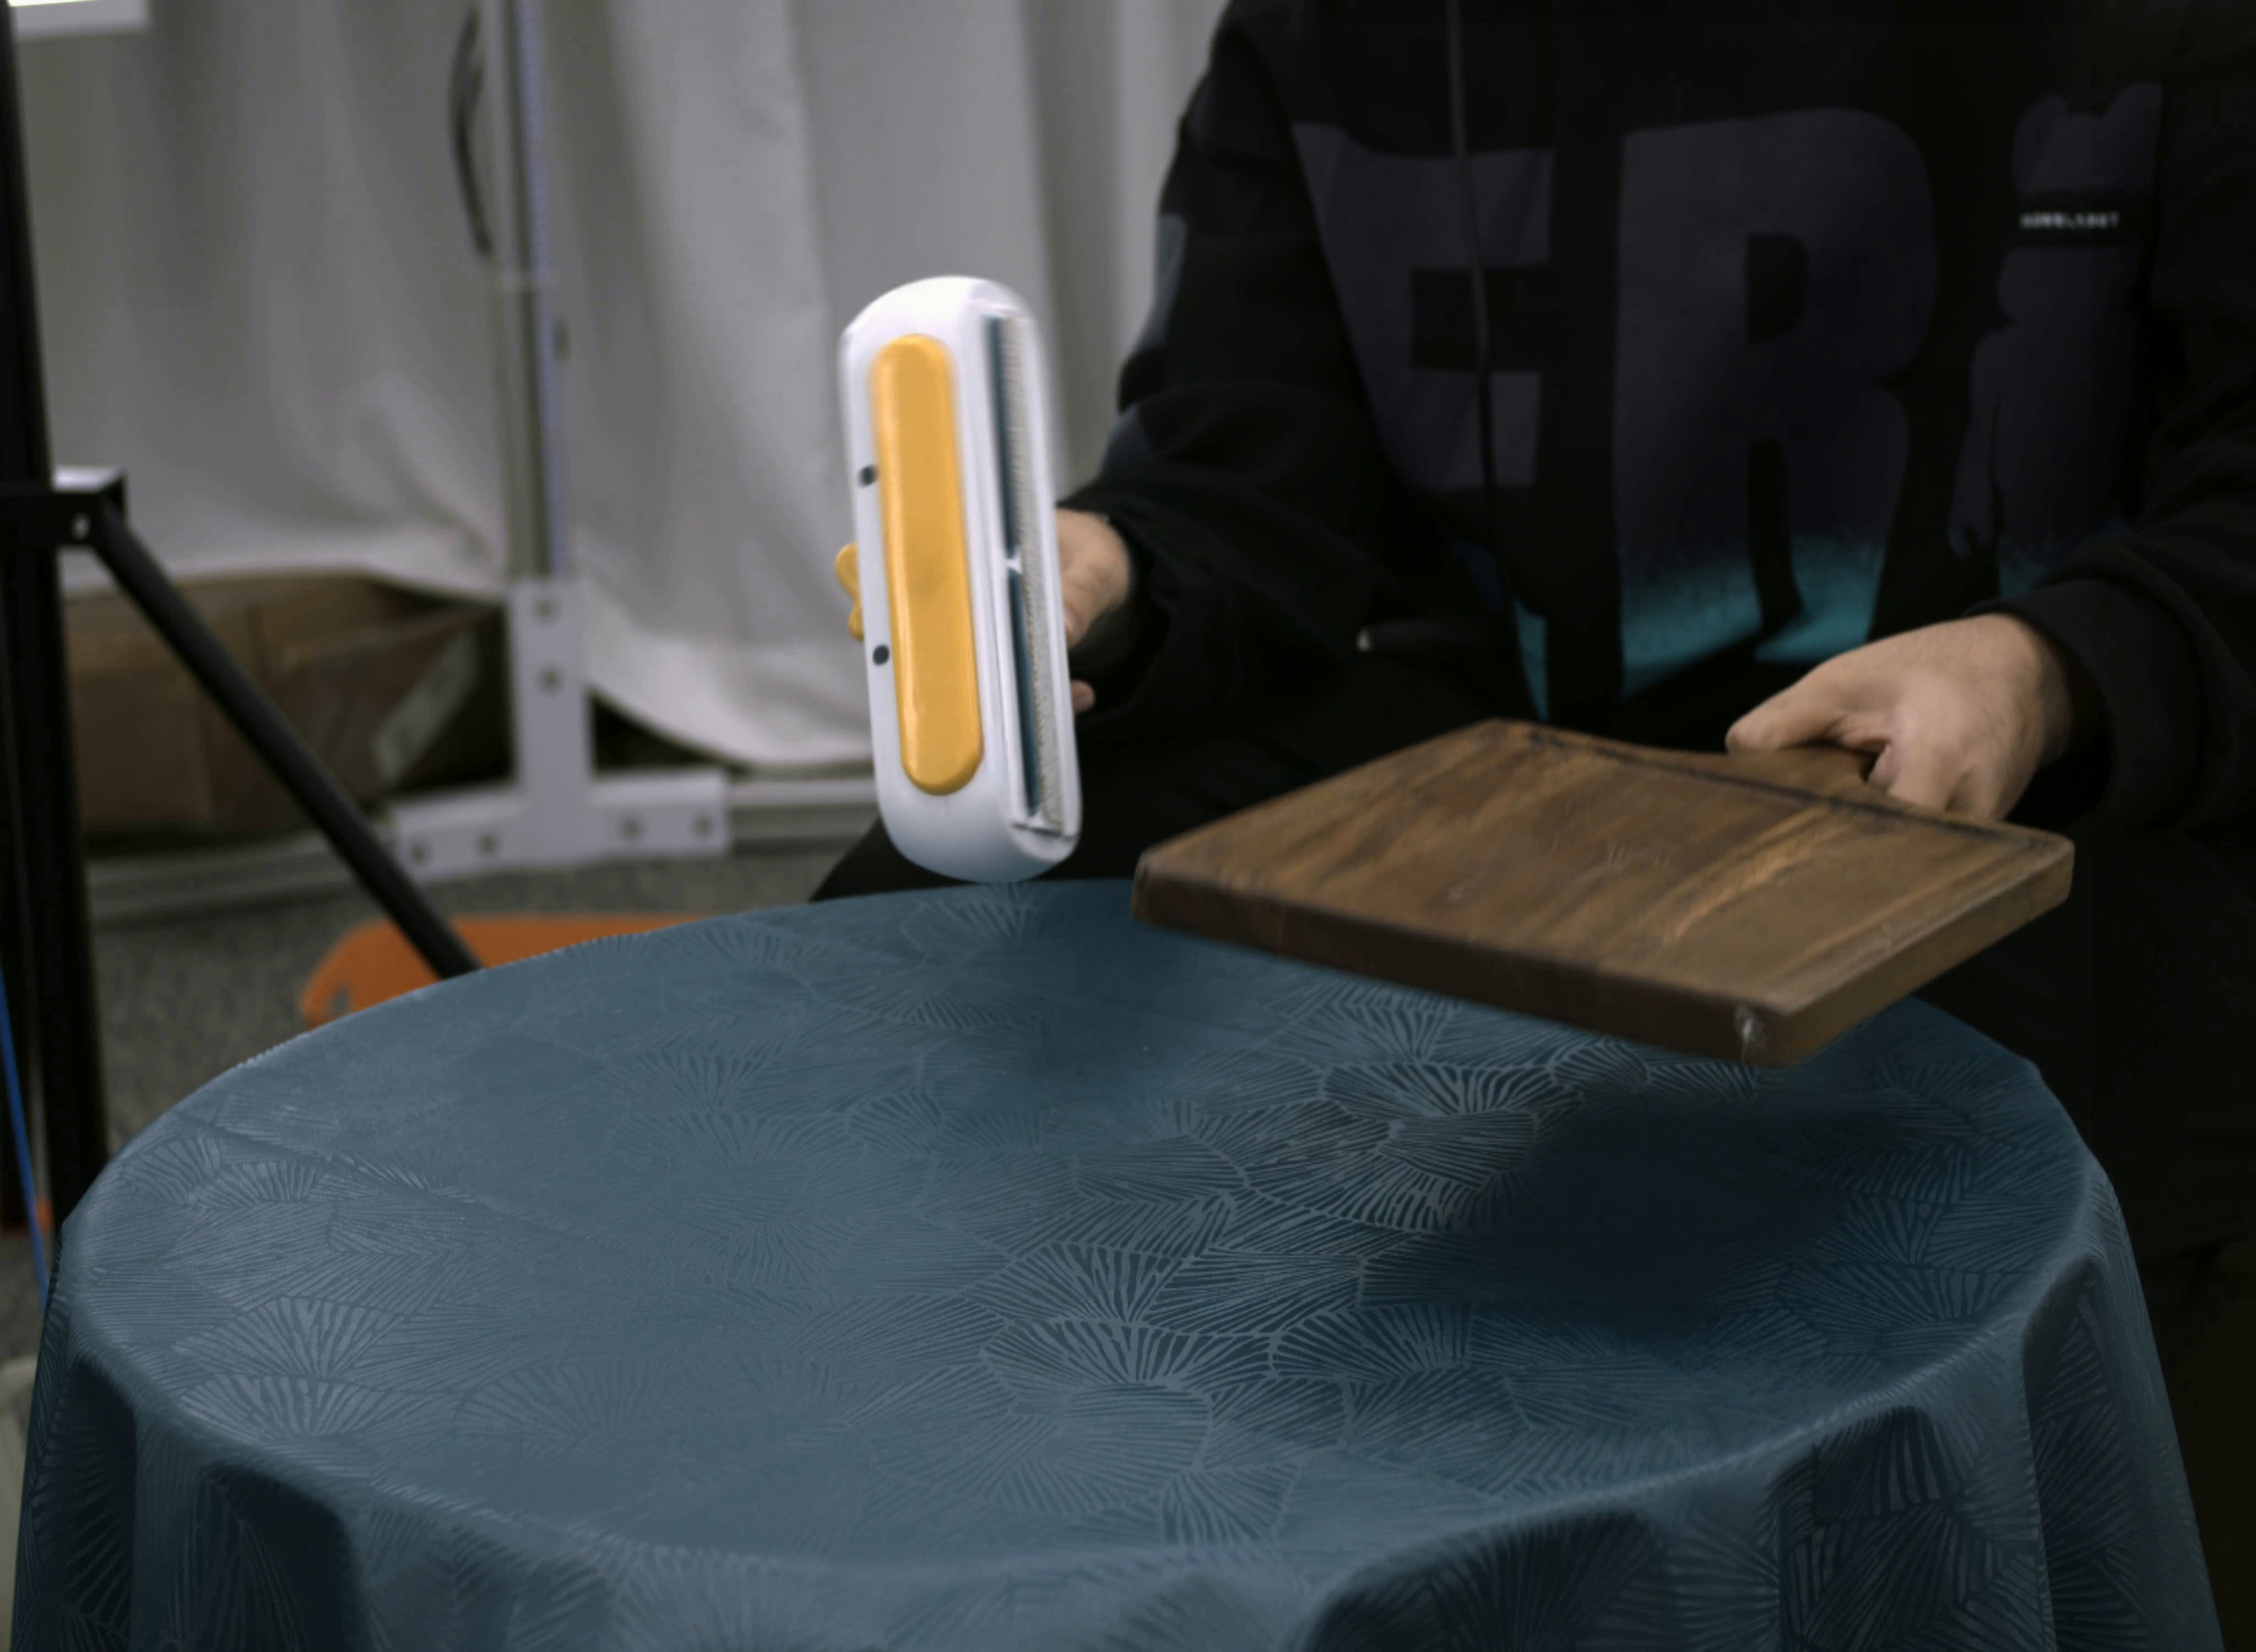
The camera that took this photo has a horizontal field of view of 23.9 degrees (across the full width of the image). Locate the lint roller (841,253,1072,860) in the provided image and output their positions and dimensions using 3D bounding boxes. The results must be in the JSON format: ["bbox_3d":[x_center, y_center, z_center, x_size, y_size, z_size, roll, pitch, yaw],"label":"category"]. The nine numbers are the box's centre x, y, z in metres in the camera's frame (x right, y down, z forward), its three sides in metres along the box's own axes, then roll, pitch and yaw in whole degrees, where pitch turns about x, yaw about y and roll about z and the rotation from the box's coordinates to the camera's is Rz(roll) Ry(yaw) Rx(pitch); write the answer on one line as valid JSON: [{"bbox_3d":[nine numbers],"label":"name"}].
[{"bbox_3d":[-0.040,-0.072,1.740,0.075,0.195,0.189,-10,-15,16],"label":"lint roller"}]

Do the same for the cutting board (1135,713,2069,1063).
[{"bbox_3d":[0.163,0.006,1.551,0.204,0.023,0.346,13,15,25],"label":"cutting board"}]
